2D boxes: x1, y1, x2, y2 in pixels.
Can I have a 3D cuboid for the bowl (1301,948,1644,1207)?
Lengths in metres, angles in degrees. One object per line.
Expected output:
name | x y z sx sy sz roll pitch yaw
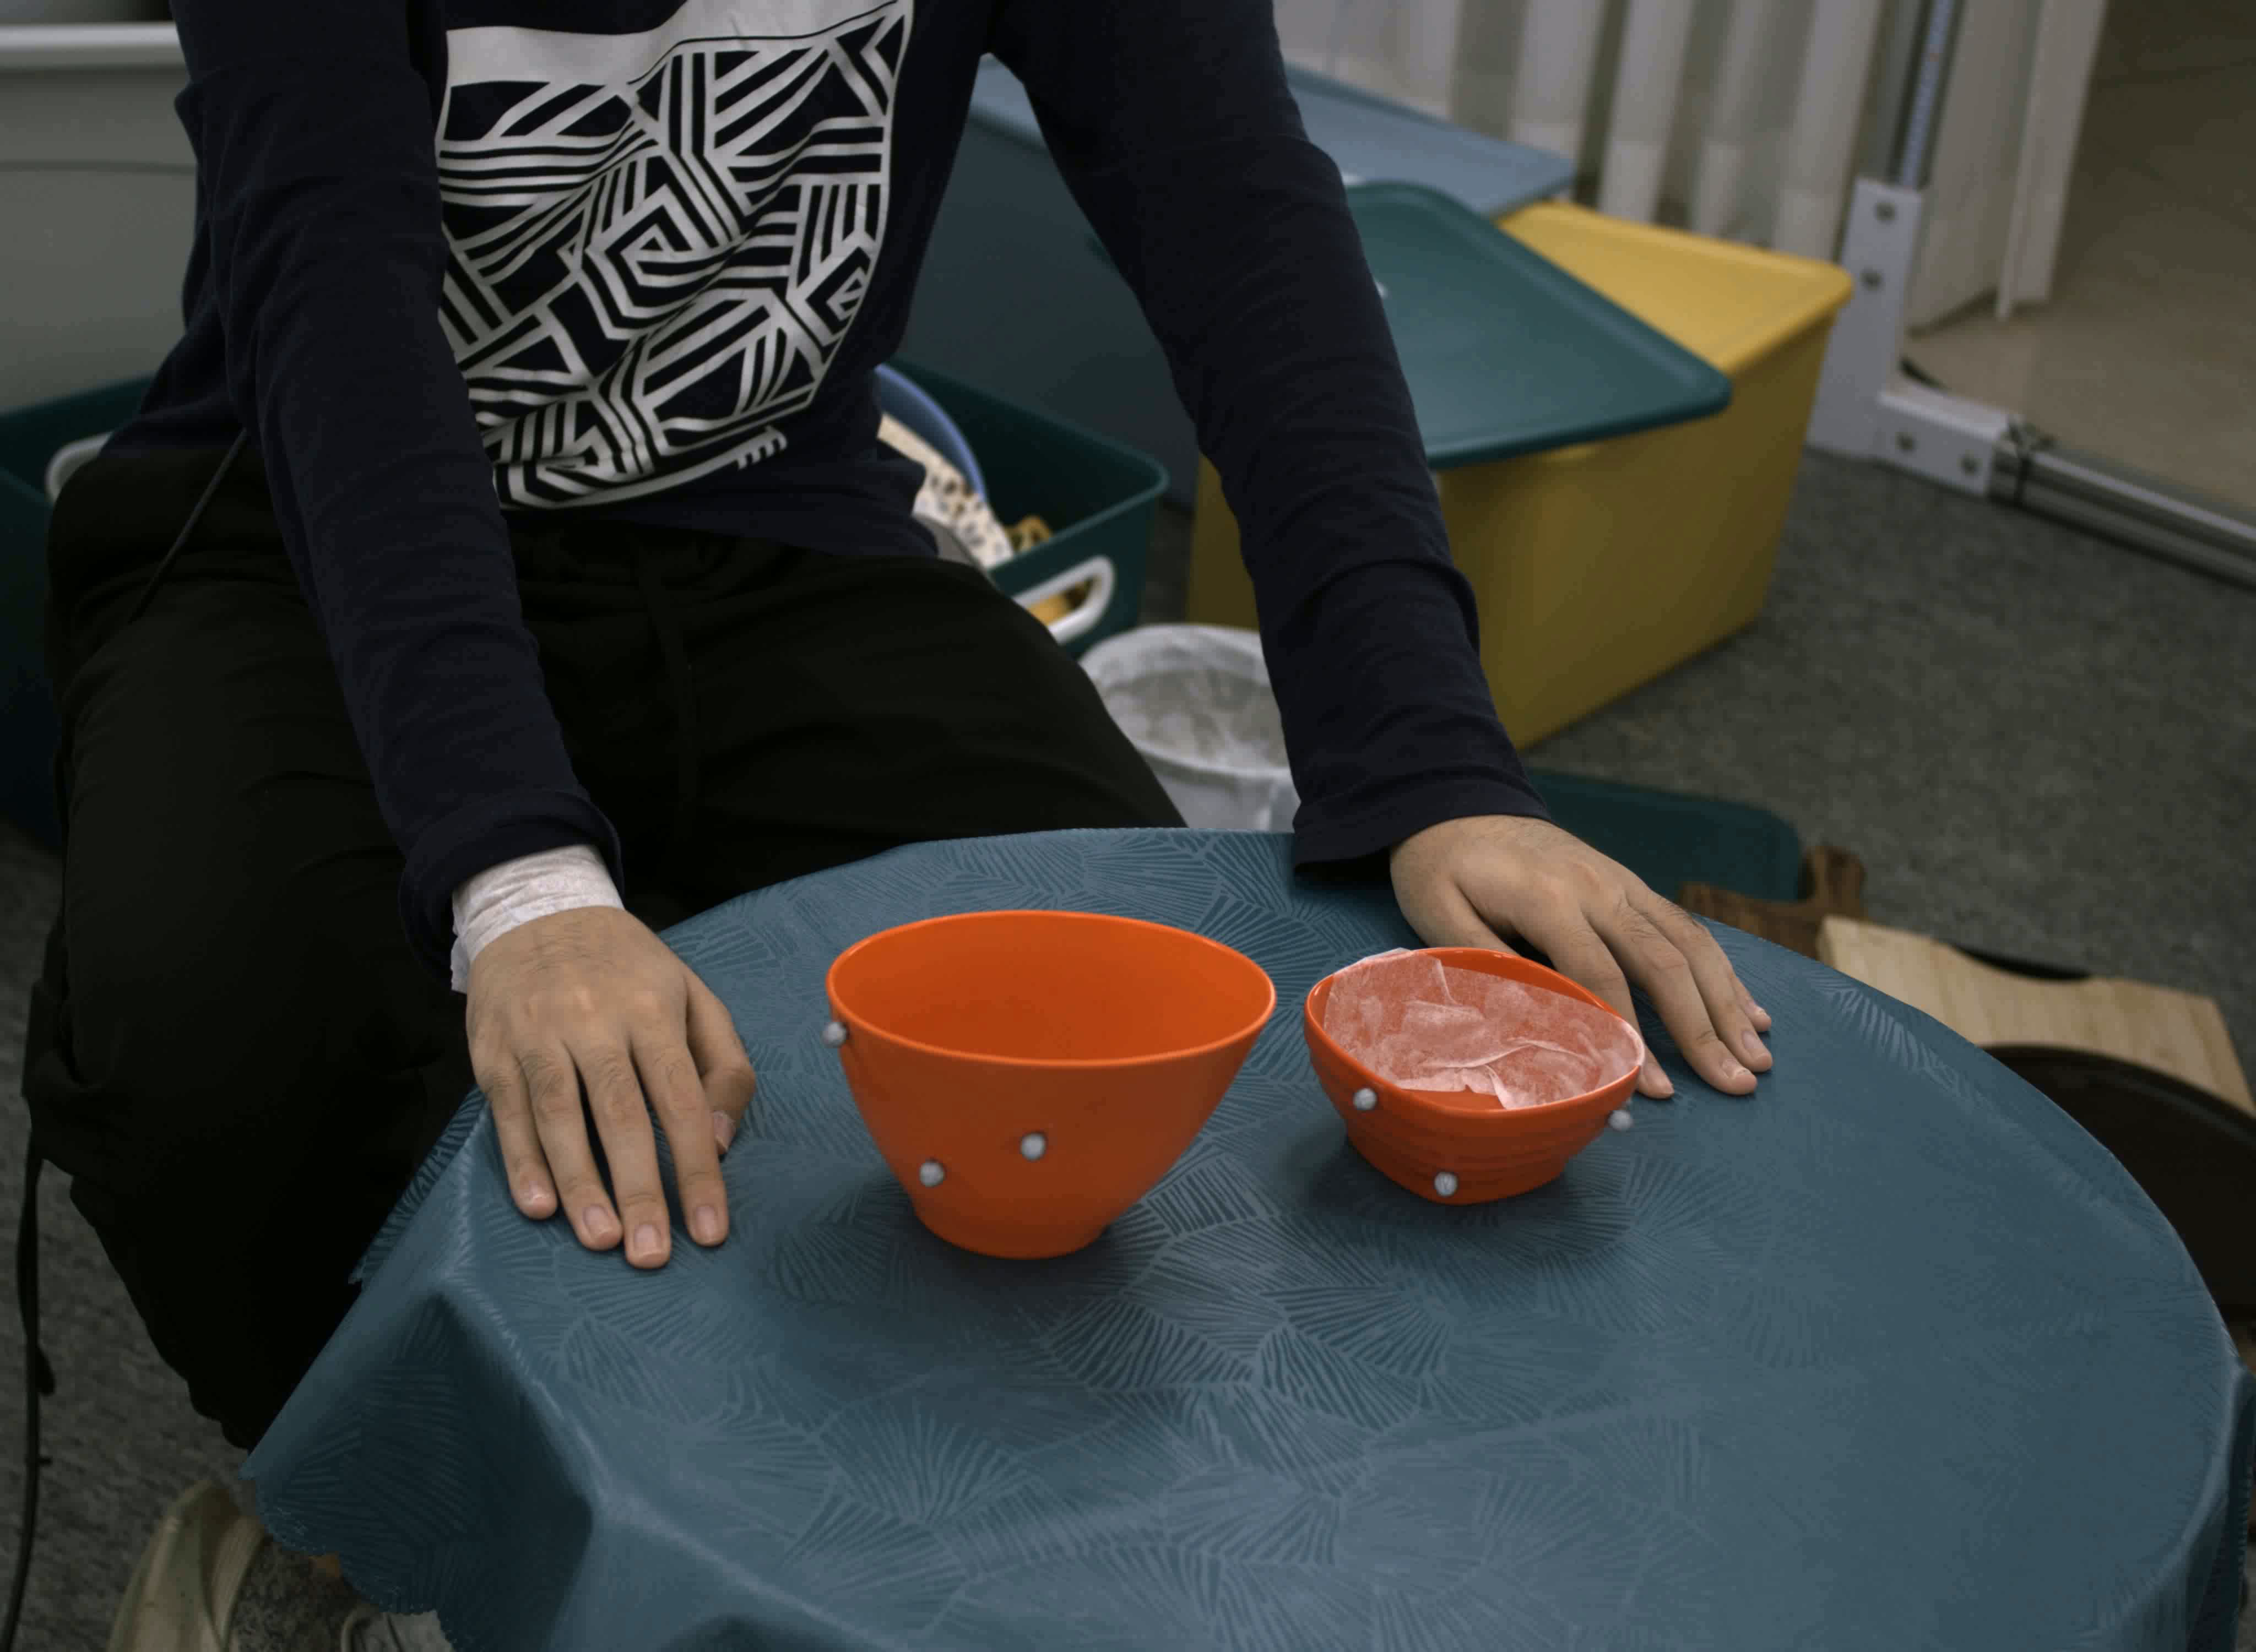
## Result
bowl | 0.117 0.091 1.842 0.118 0.051 0.119 3 27 -2

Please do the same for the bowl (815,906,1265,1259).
bowl | -0.033 0.088 1.757 0.147 0.104 0.149 5 27 -3
